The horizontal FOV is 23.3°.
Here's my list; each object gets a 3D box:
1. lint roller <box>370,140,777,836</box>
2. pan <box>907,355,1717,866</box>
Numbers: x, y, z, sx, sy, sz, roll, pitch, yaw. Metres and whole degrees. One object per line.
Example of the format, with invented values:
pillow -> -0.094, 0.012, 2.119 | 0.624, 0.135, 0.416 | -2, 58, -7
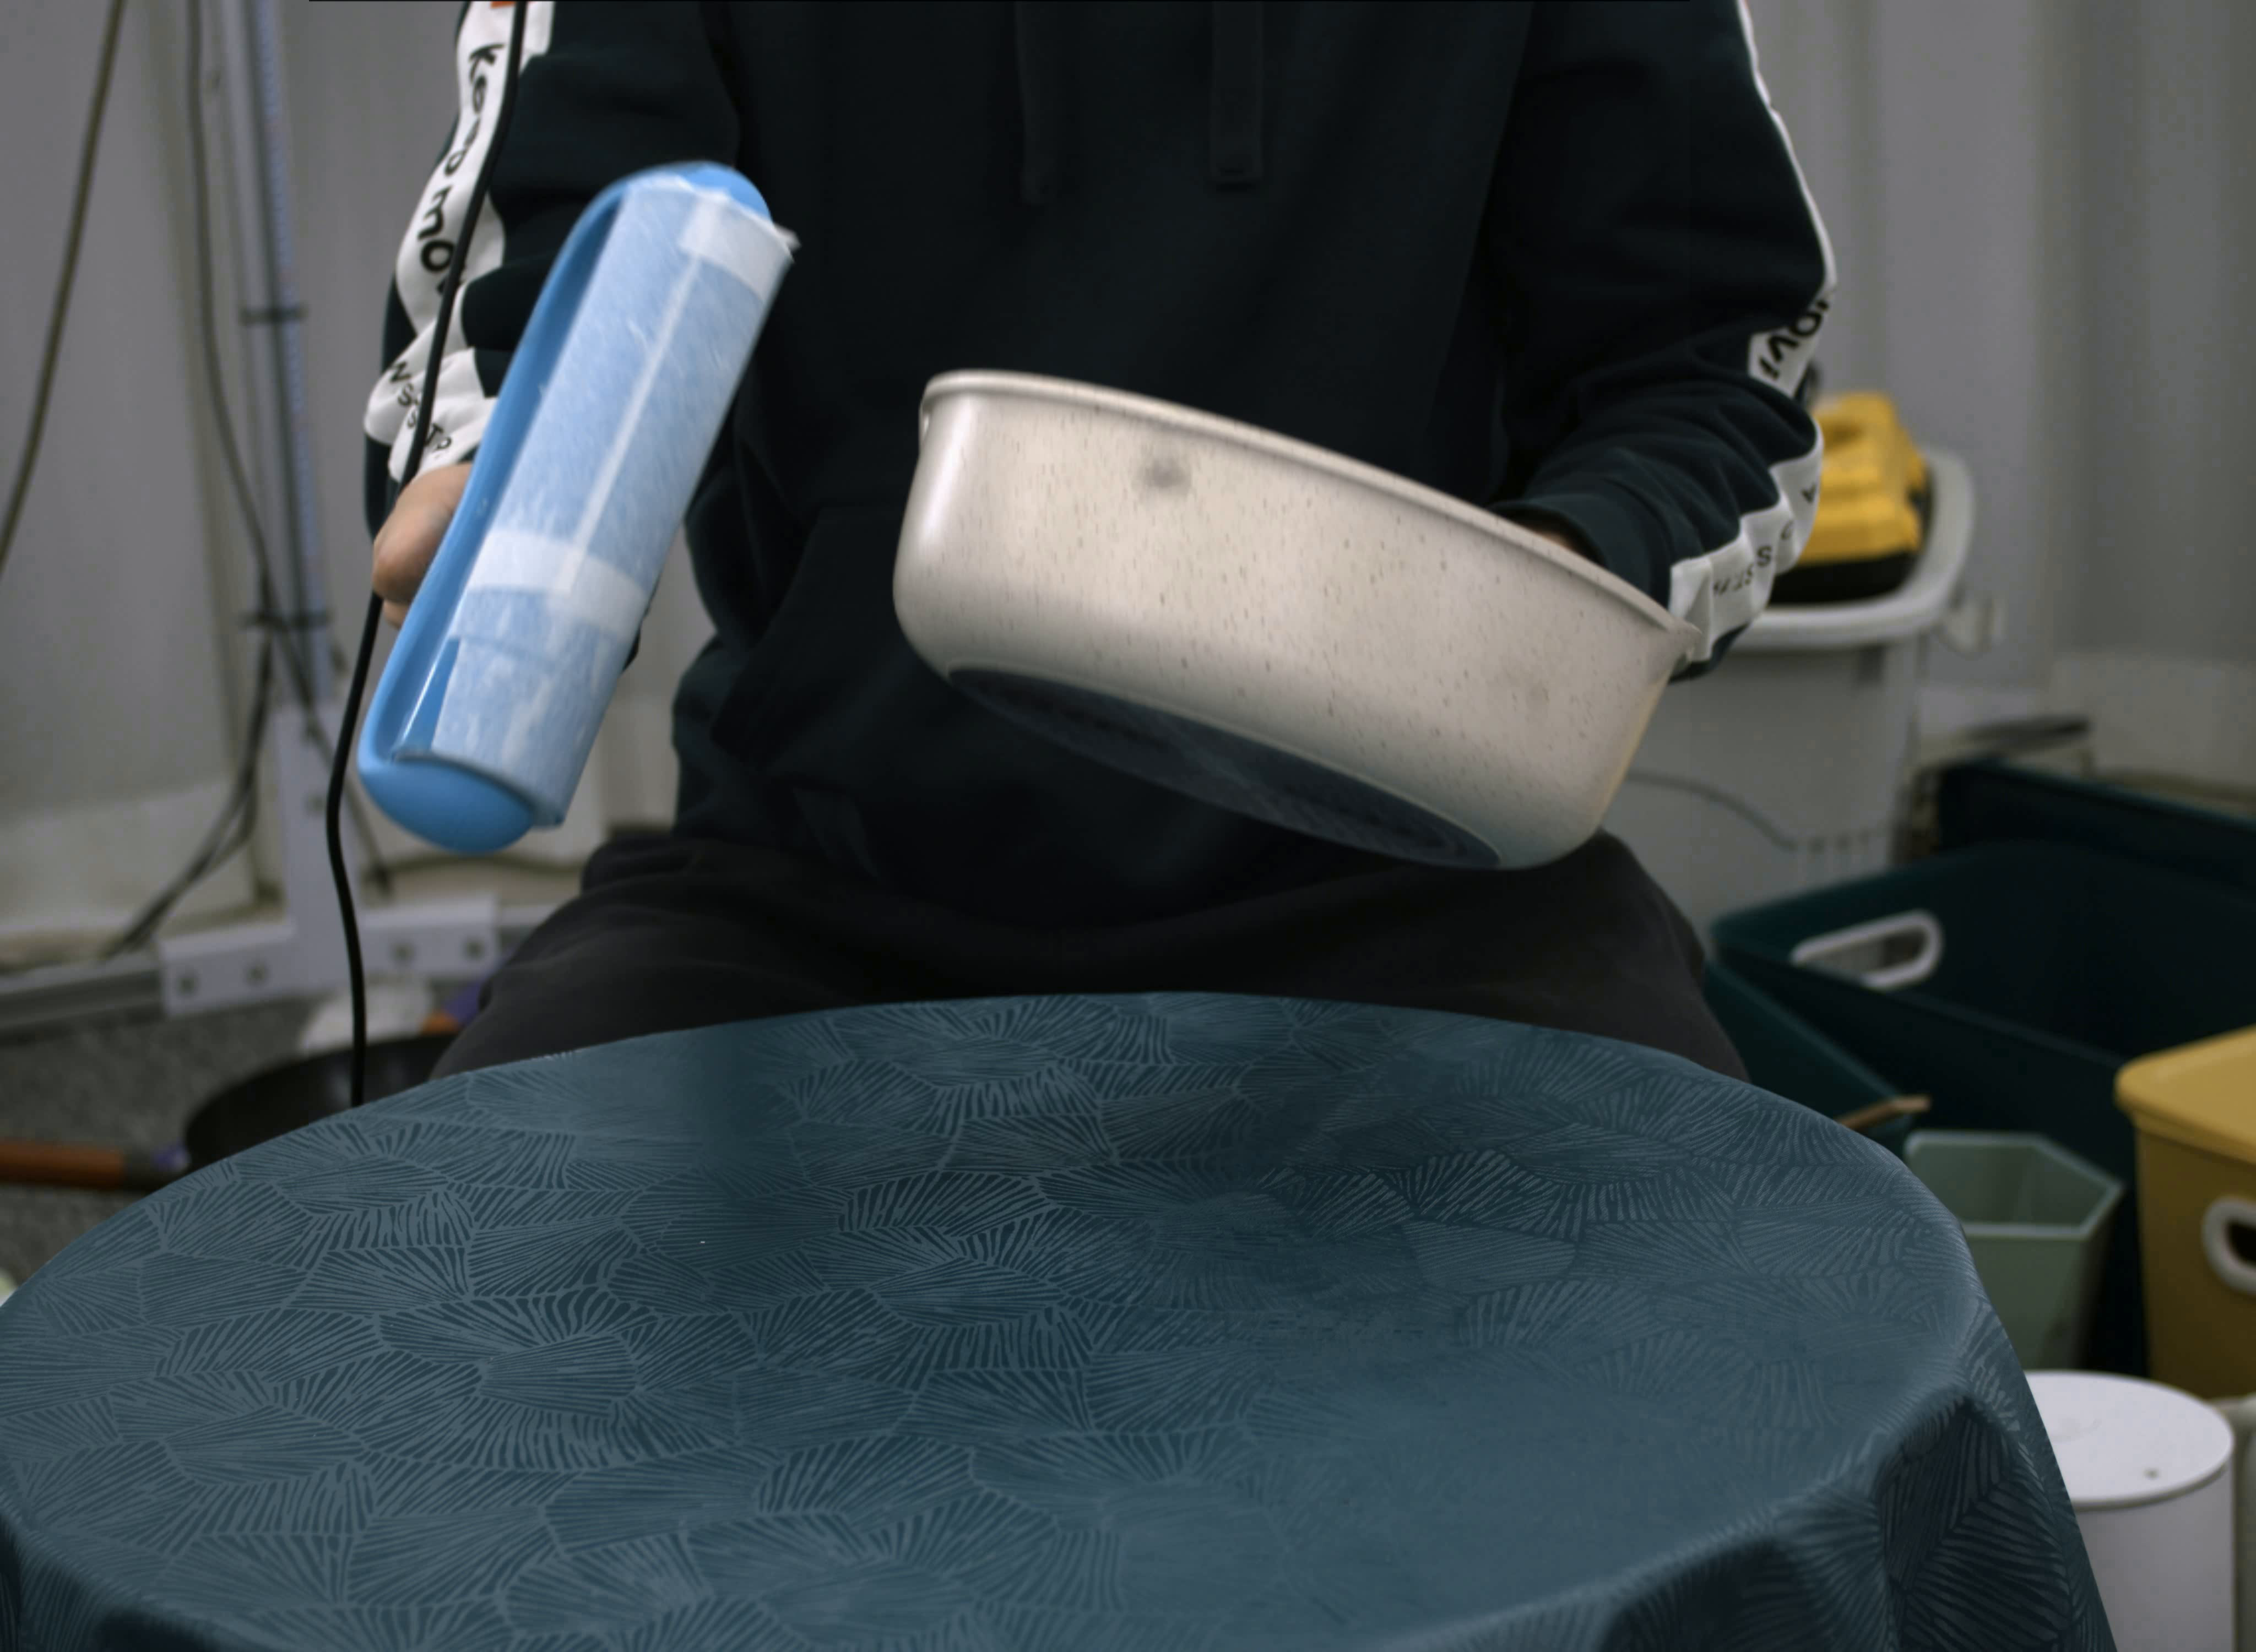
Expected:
lint roller -> -0.178, -0.086, 1.682 | 0.067, 0.231, 0.179 | 21, -22, -11
pan -> 0.074, -0.045, 1.779 | 0.264, 0.102, 0.431 | 16, -8, 20
